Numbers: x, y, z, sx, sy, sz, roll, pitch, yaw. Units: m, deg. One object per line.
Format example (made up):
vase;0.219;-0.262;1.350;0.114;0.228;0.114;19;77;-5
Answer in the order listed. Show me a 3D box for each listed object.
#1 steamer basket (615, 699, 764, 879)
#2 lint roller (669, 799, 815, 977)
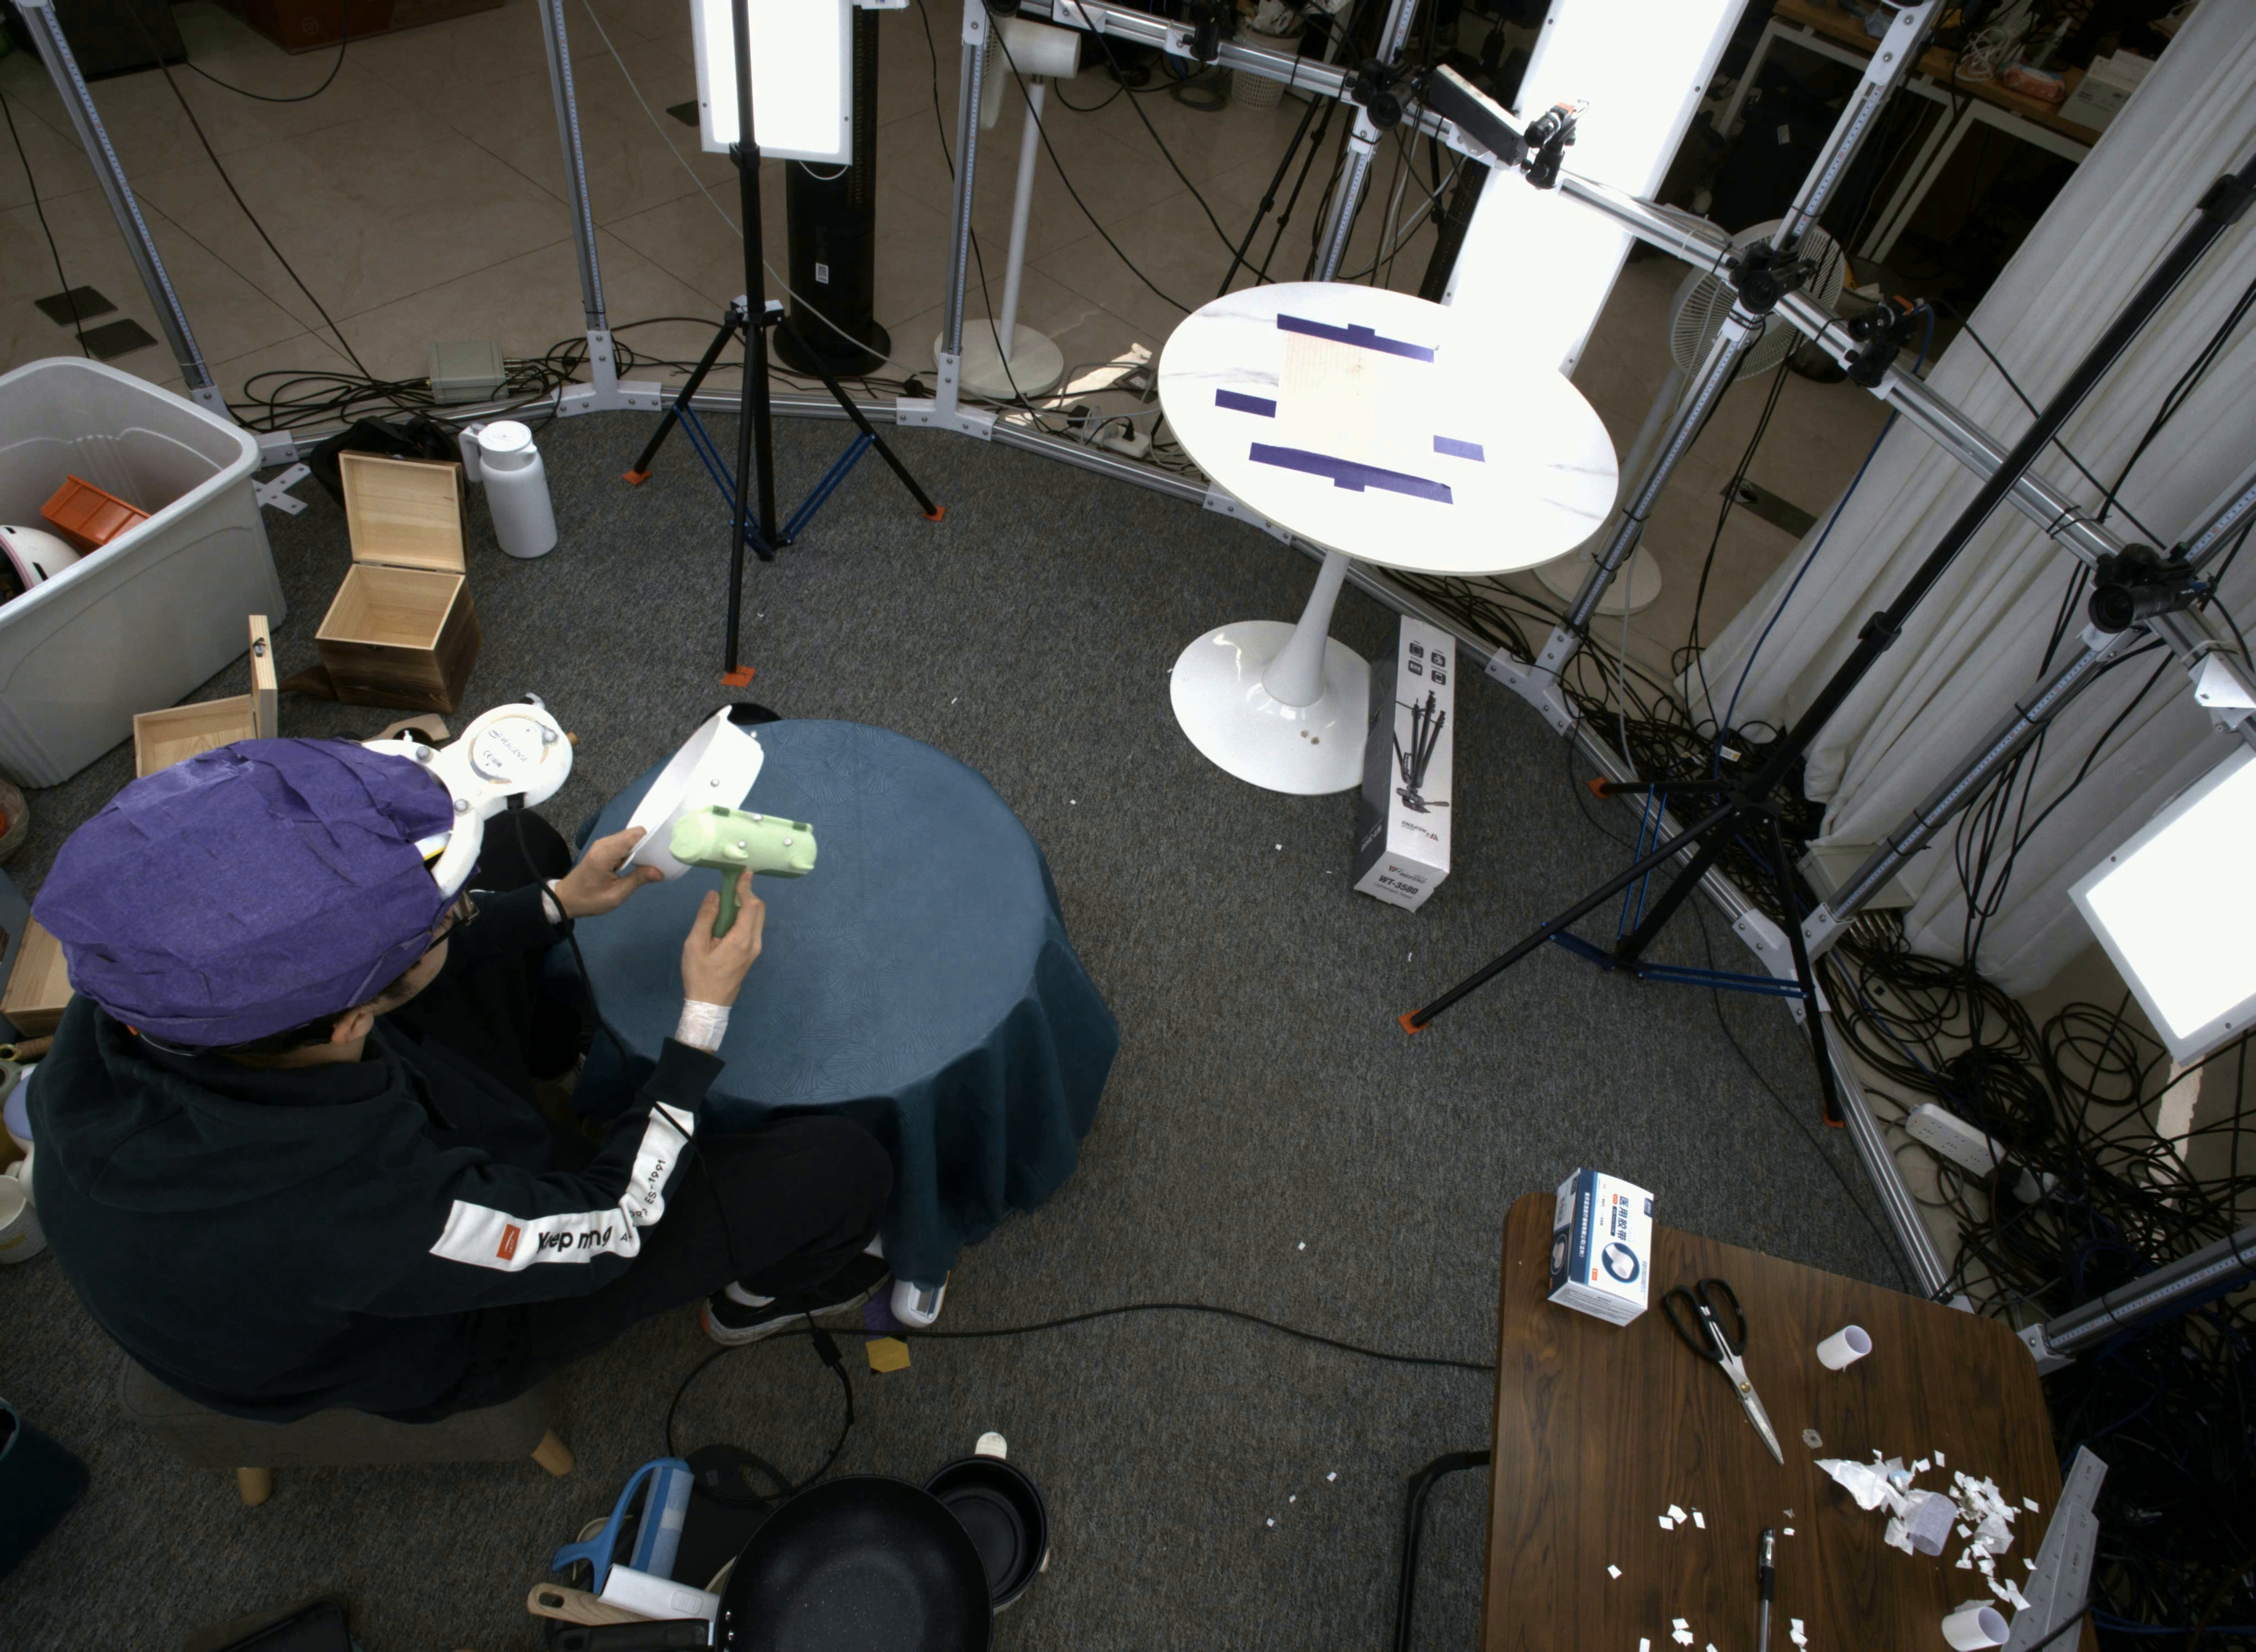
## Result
steamer basket;-0.494;-0.035;1.465;0.071;0.197;0.230;39;64;-25
lint roller;-0.417;0.074;1.400;0.080;0.203;0.185;7;86;22
